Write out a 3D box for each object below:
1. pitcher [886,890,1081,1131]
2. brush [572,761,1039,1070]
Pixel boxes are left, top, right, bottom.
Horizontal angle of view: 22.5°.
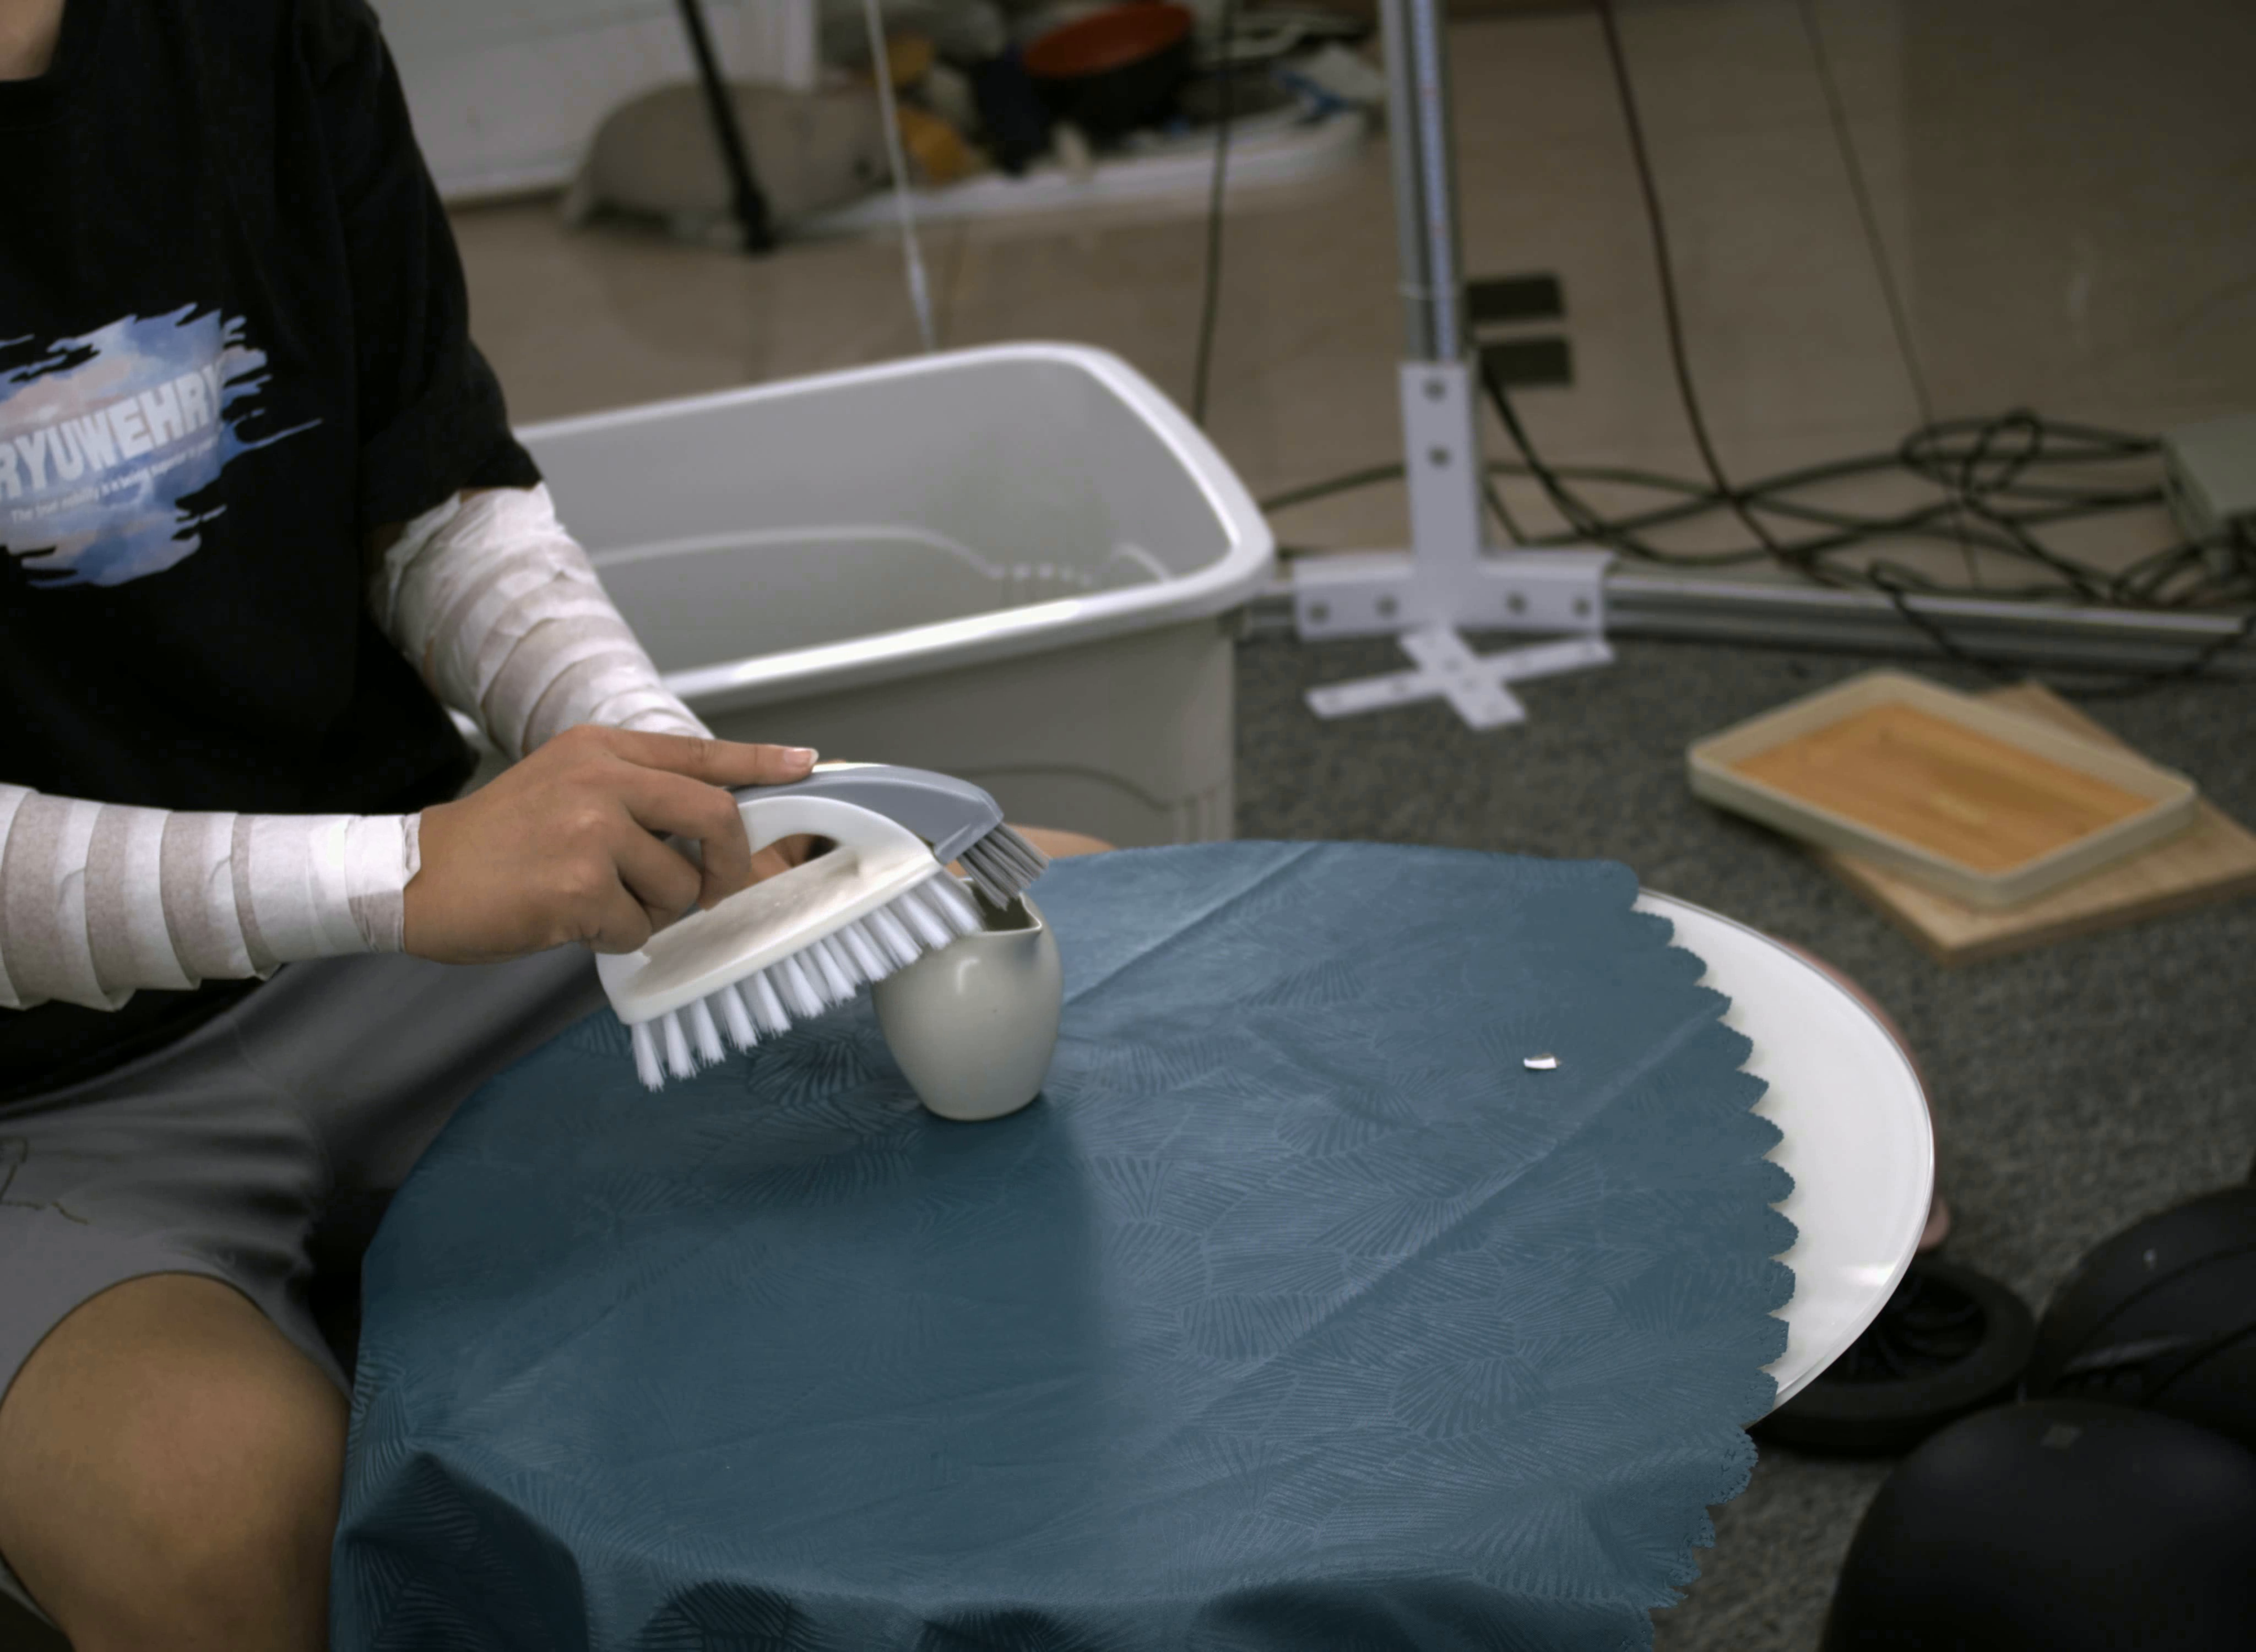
[{"bbox_3d":[-0.061,0.068,2.213,0.075,0.089,0.118,-20,29,-34],"label":"pitcher"},{"bbox_3d":[-0.129,0.018,2.162,0.175,0.096,0.060,-22,31,4],"label":"brush"}]
